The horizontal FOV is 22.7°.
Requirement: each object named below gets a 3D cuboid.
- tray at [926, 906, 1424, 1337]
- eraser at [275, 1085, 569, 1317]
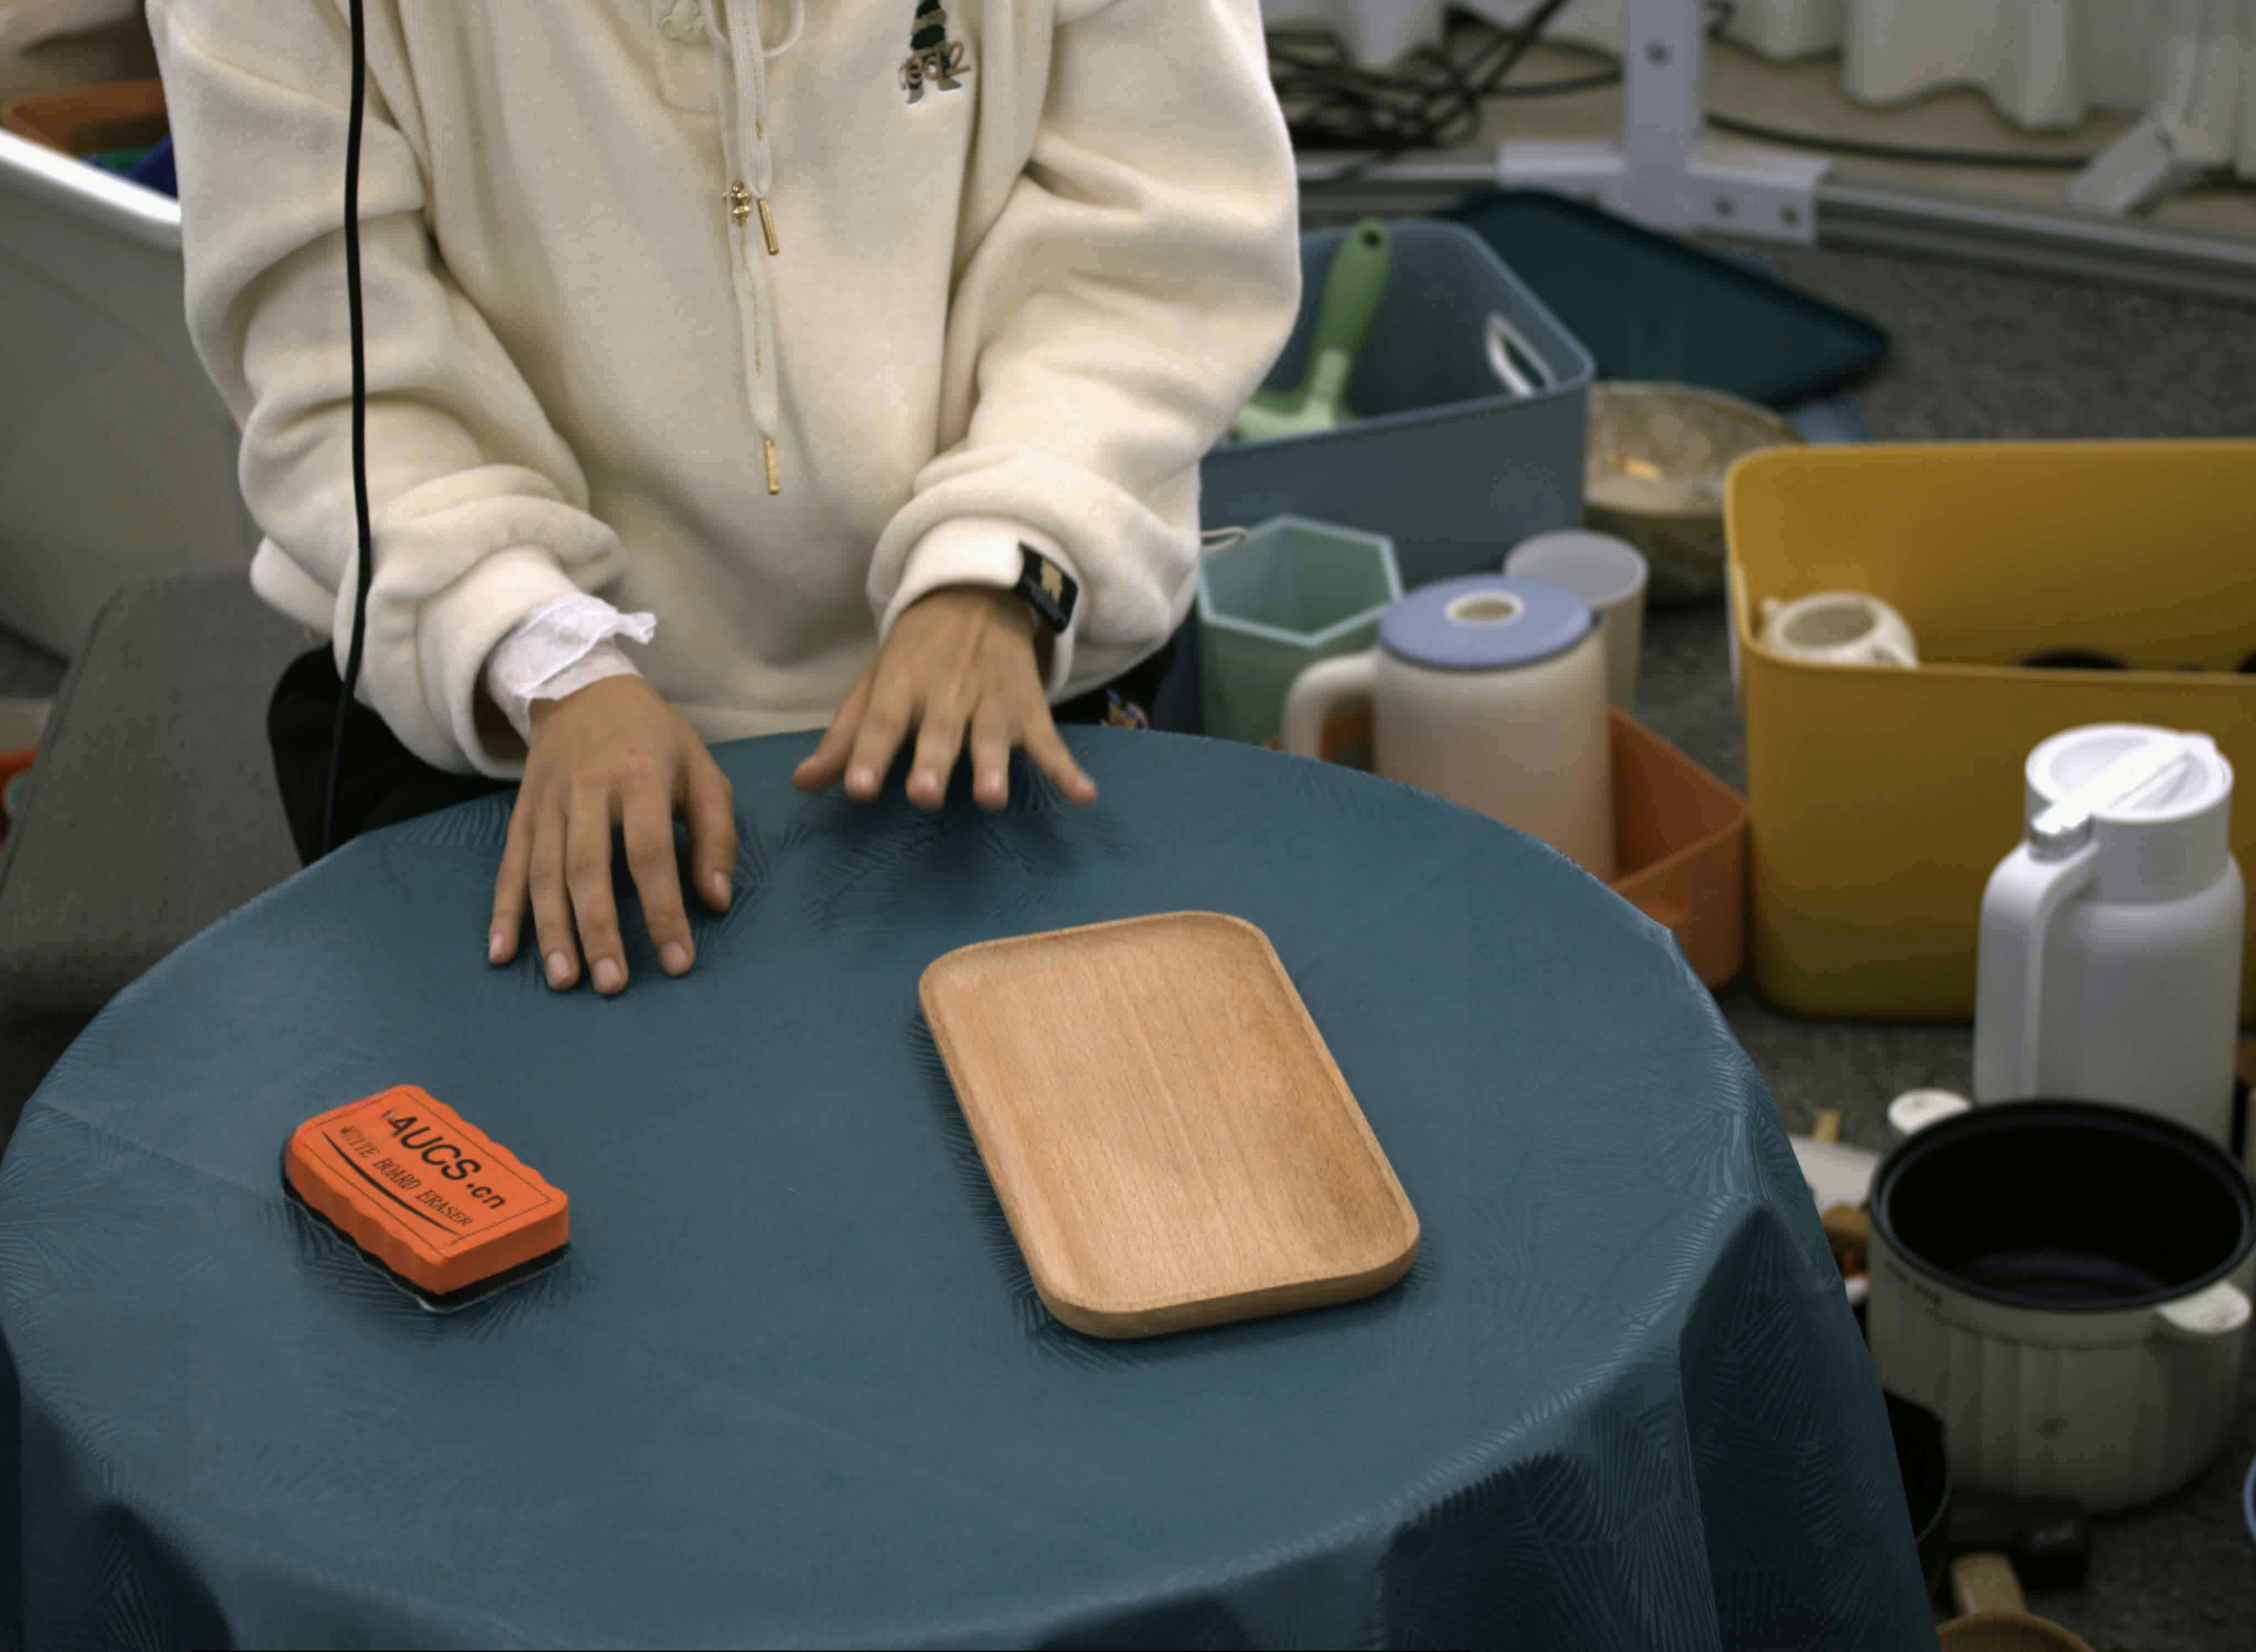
[{"bbox_3d":[0.012,0.096,1.889,0.130,0.022,0.253,-5,27,-10],"label":"tray"},{"bbox_3d":[-0.234,0.124,1.856,0.059,0.022,0.108,-22,33,-30],"label":"eraser"}]
